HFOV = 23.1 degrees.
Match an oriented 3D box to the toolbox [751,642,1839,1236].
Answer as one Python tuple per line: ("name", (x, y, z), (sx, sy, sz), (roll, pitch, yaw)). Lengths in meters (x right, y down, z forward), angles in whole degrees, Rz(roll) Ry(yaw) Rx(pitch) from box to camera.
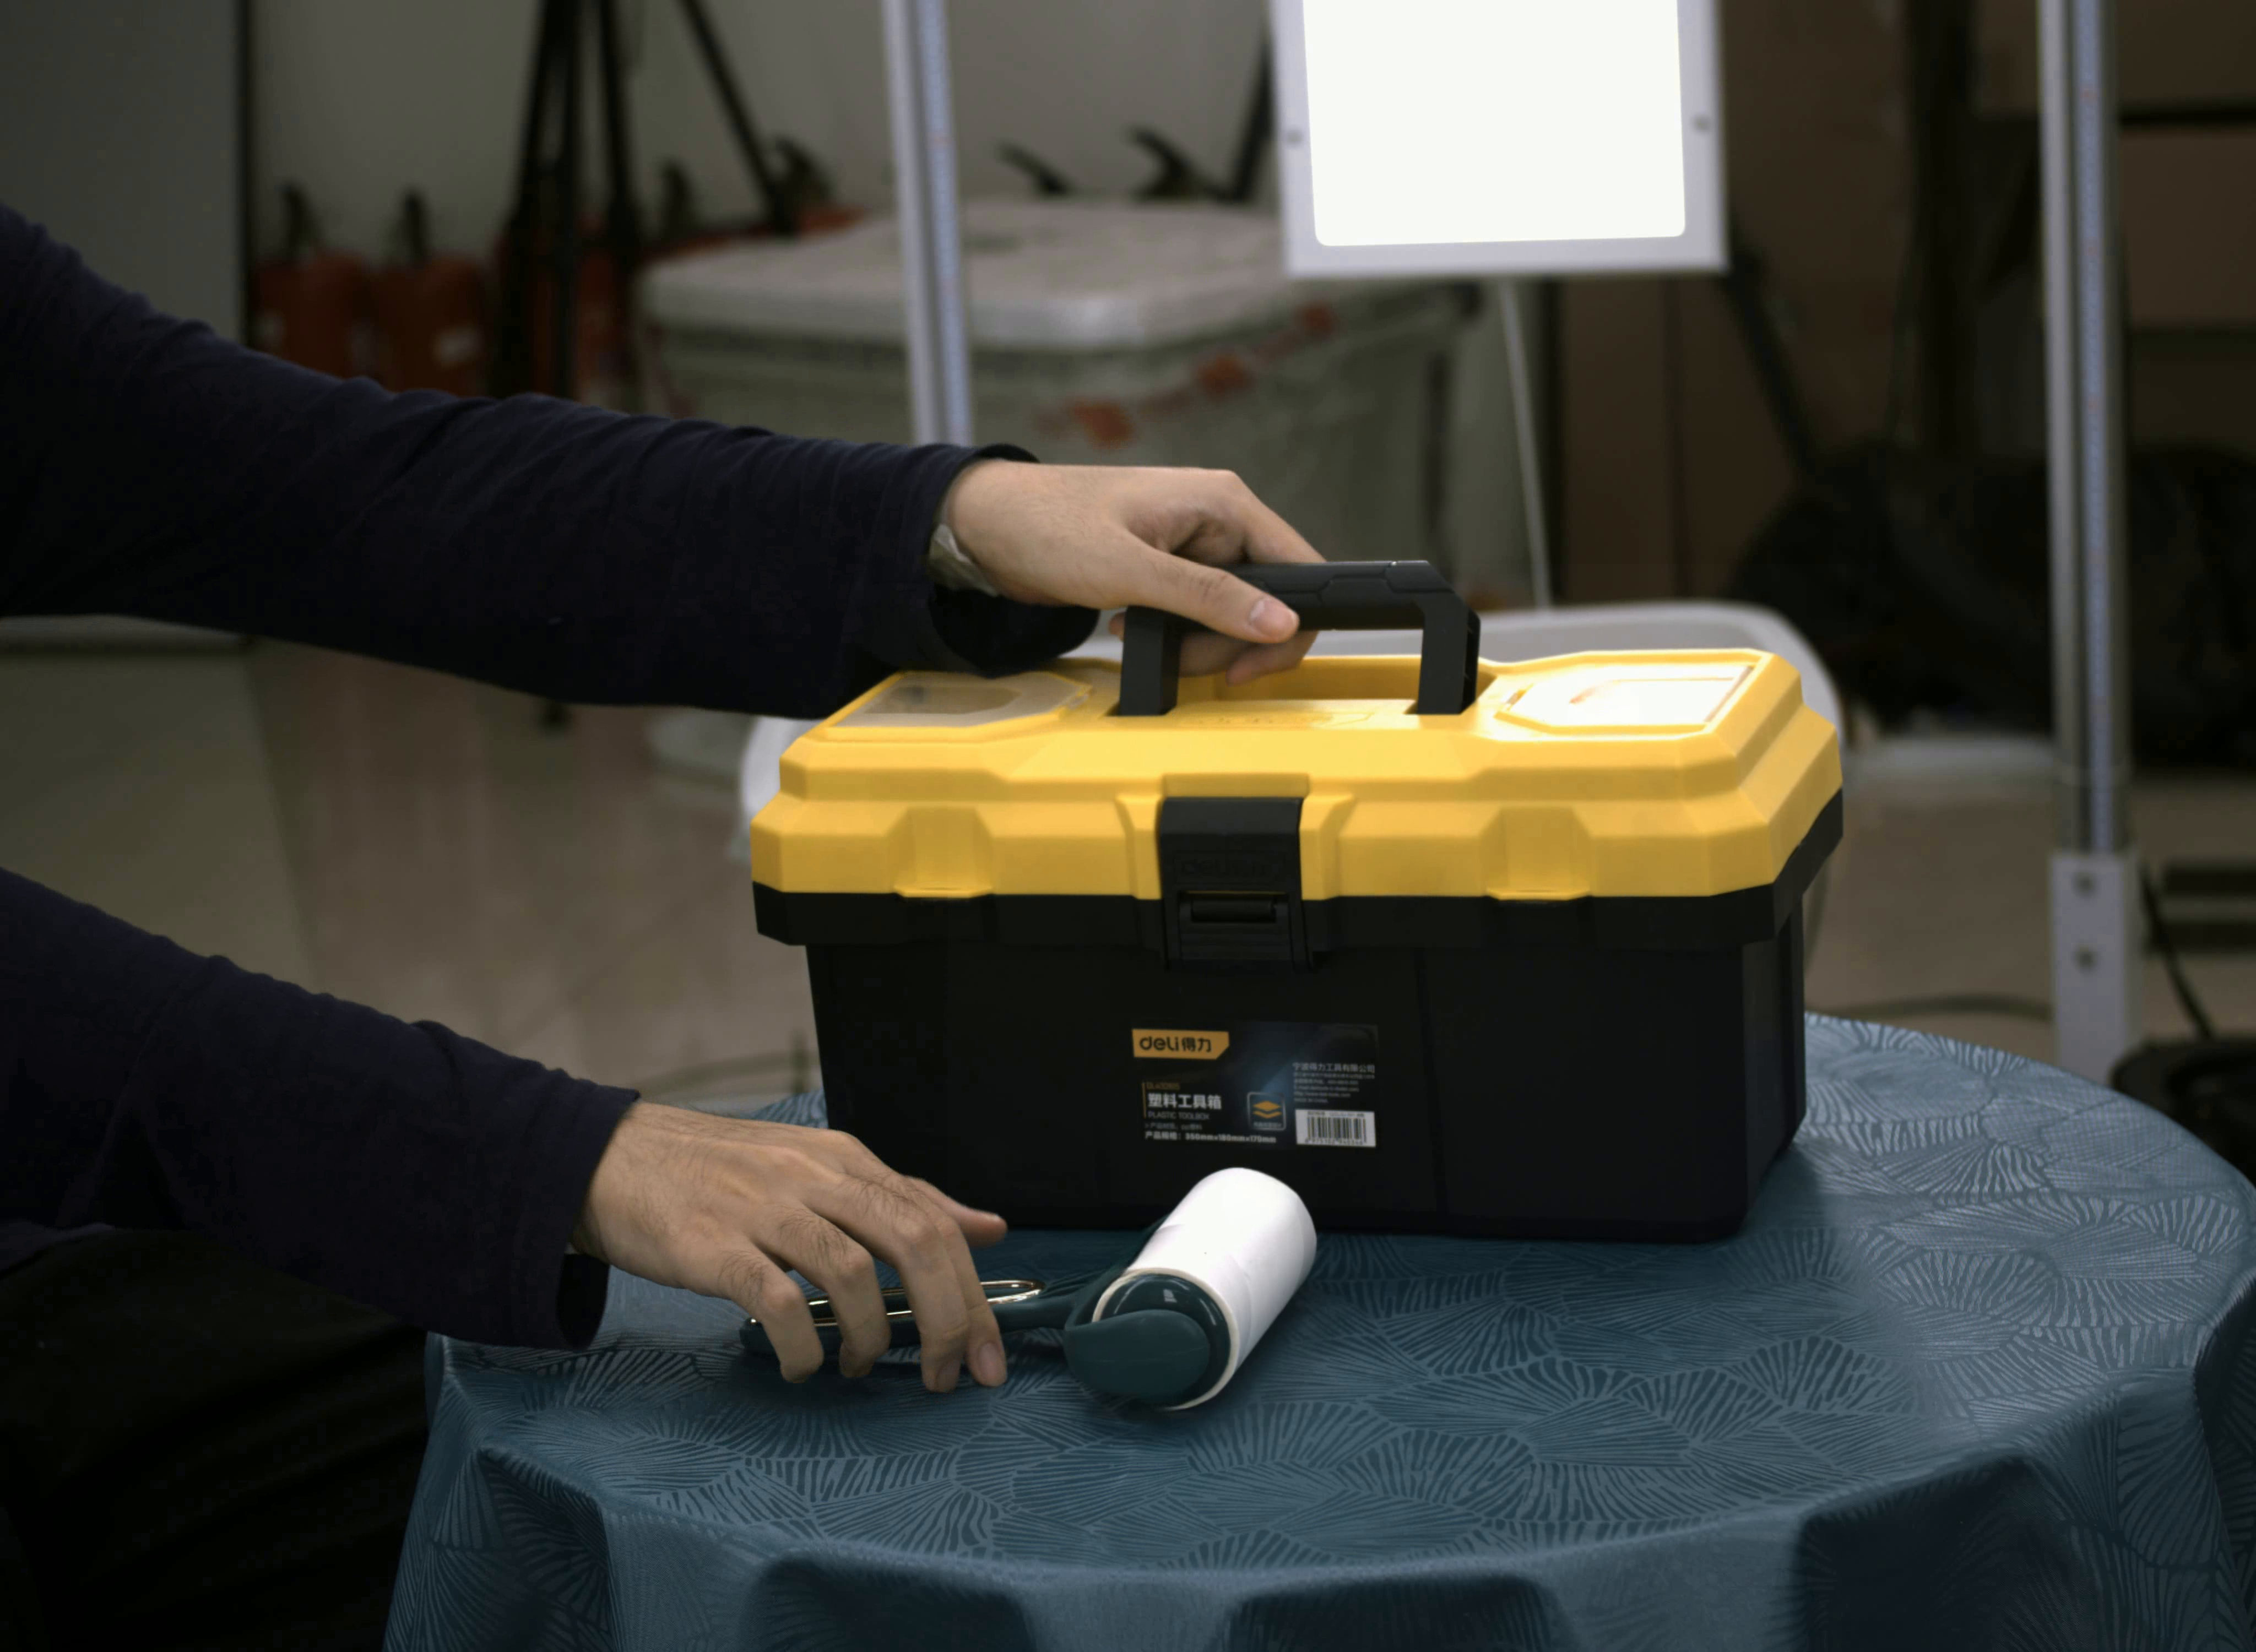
("toolbox", (0.060, 0.039, 1.874), (0.356, 0.173, 0.178), (-1, 14, 20))

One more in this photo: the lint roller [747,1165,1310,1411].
("lint roller", (-0.039, 0.149, 1.745), (0.182, 0.048, 0.132), (-5, 14, 19))
